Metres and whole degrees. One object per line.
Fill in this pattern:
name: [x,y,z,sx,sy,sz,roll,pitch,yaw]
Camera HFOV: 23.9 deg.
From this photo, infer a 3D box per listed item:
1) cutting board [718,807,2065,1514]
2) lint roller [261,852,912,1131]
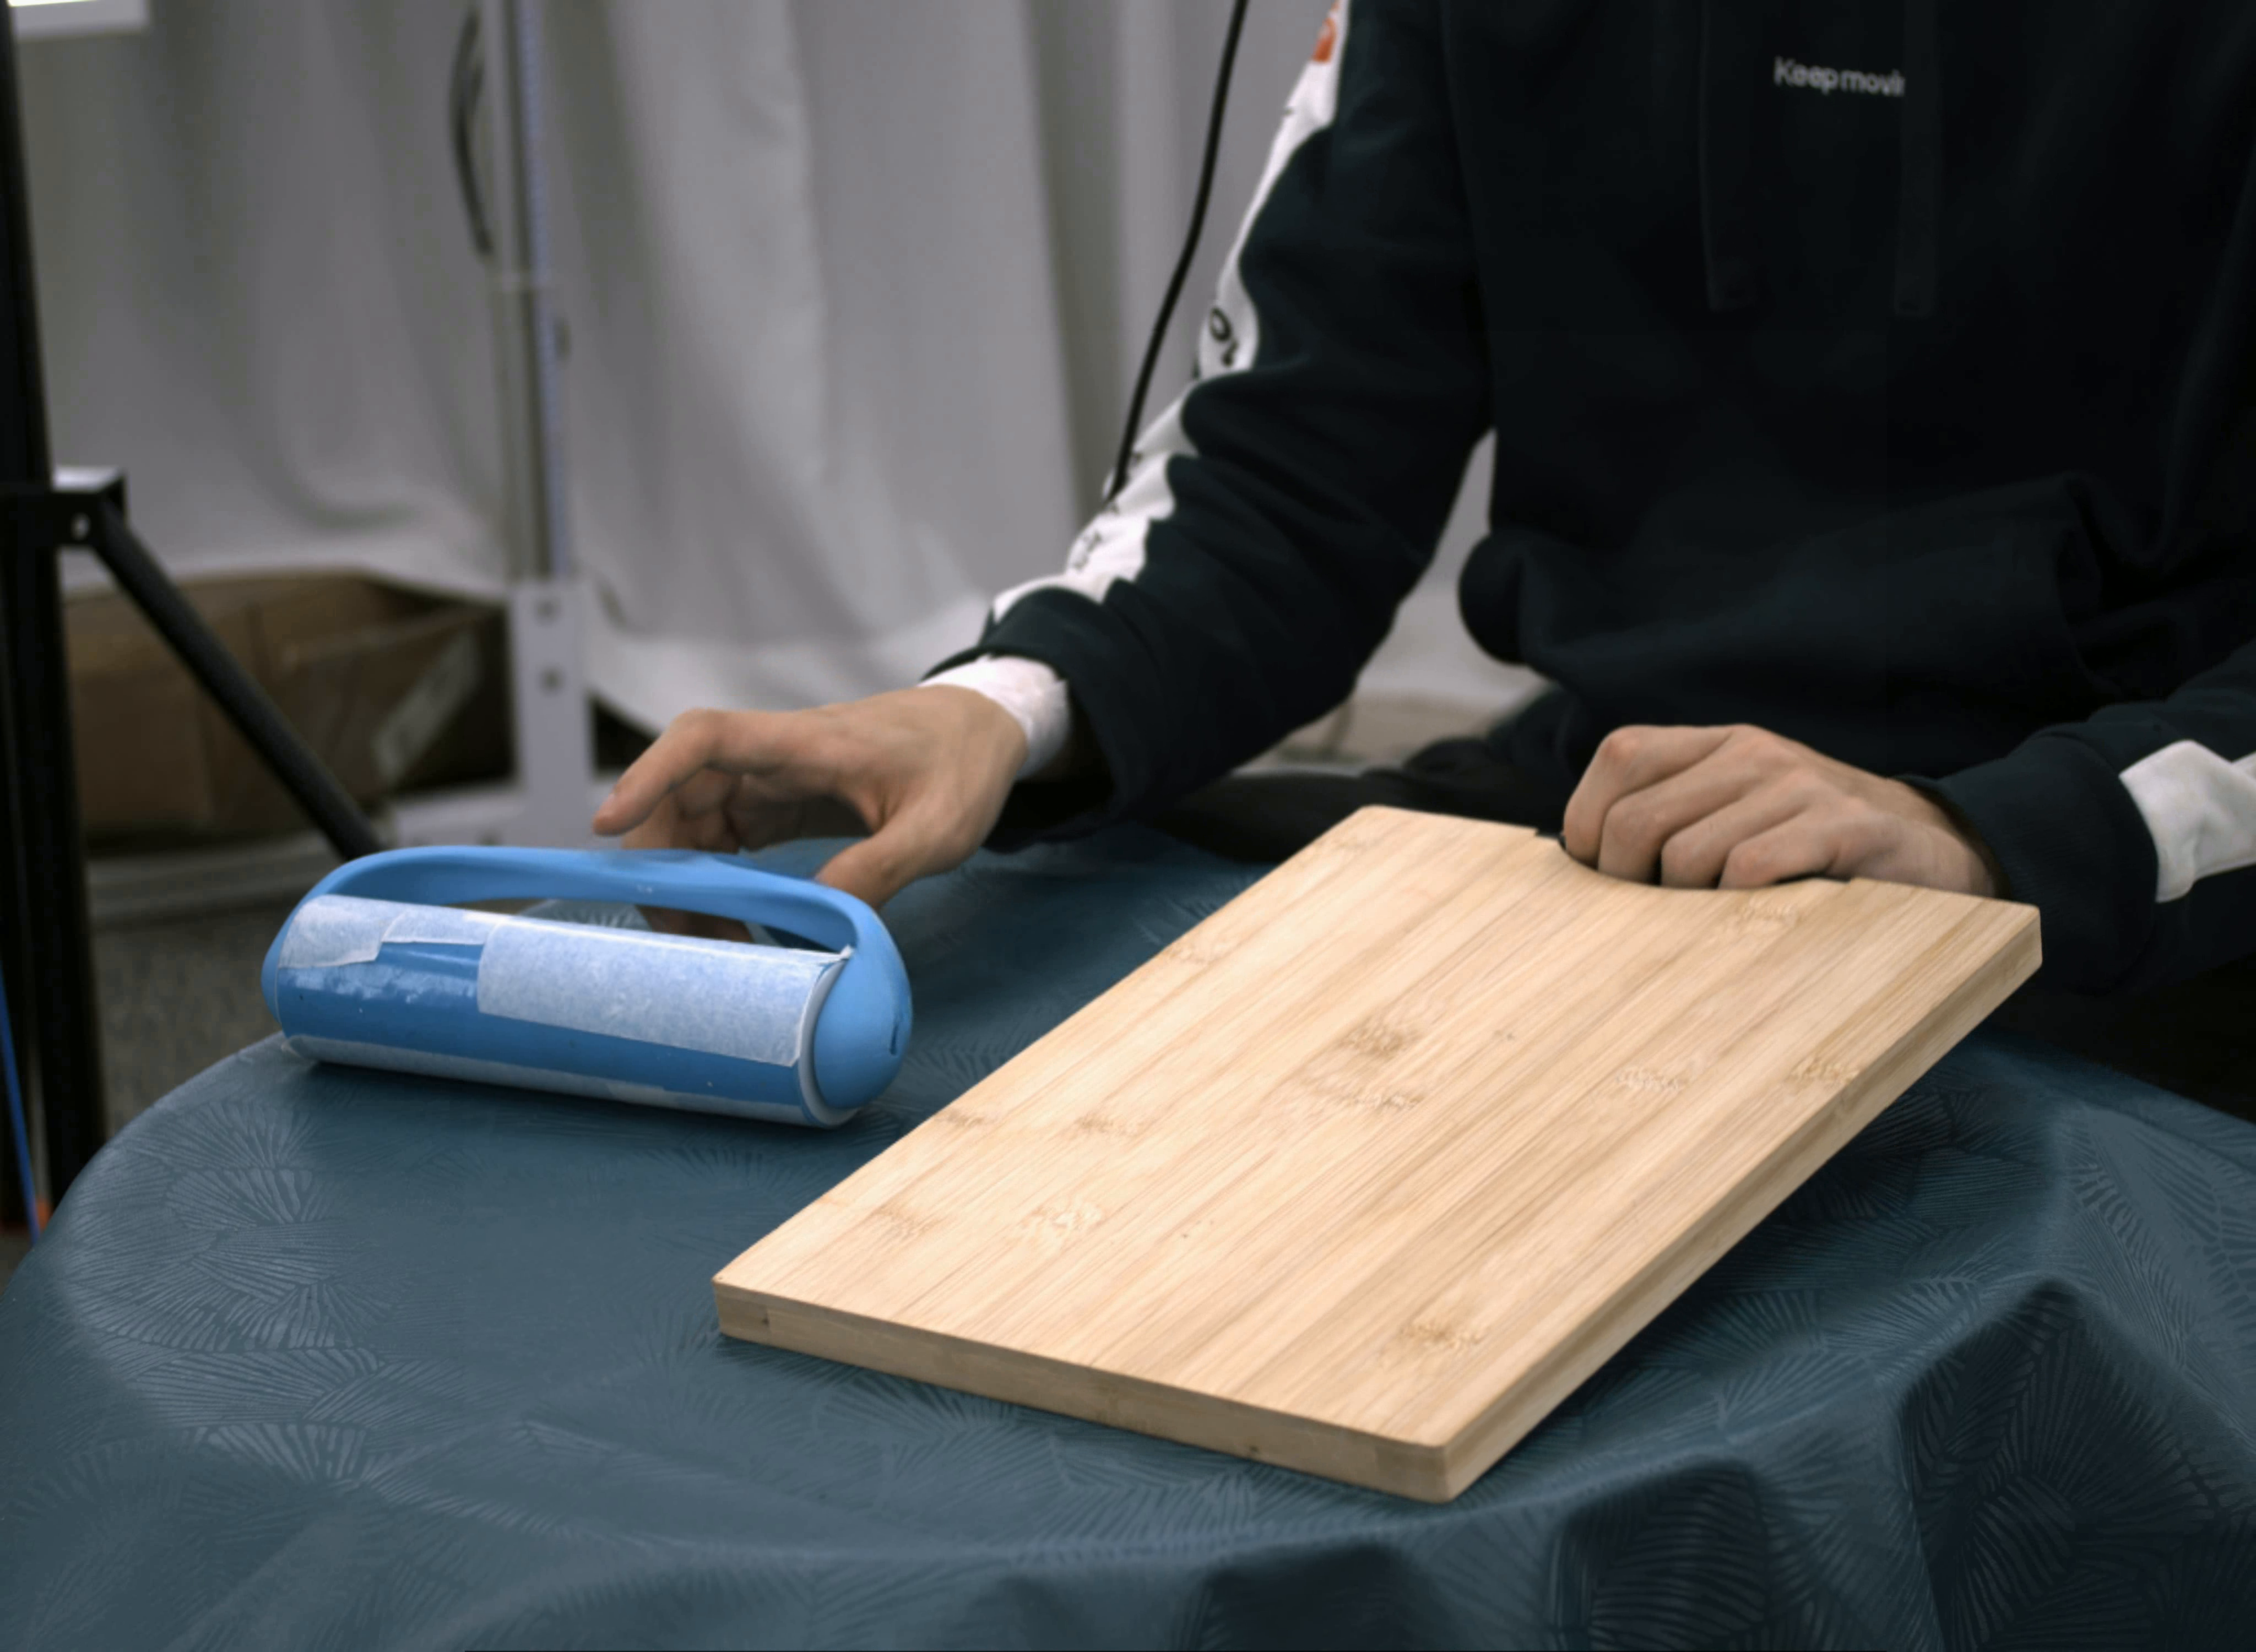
cutting board: [0.081,0.083,1.512,0.256,0.023,0.343,9,28,35]
lint roller: [-0.148,0.041,1.717,0.232,0.068,0.177,3,17,26]
